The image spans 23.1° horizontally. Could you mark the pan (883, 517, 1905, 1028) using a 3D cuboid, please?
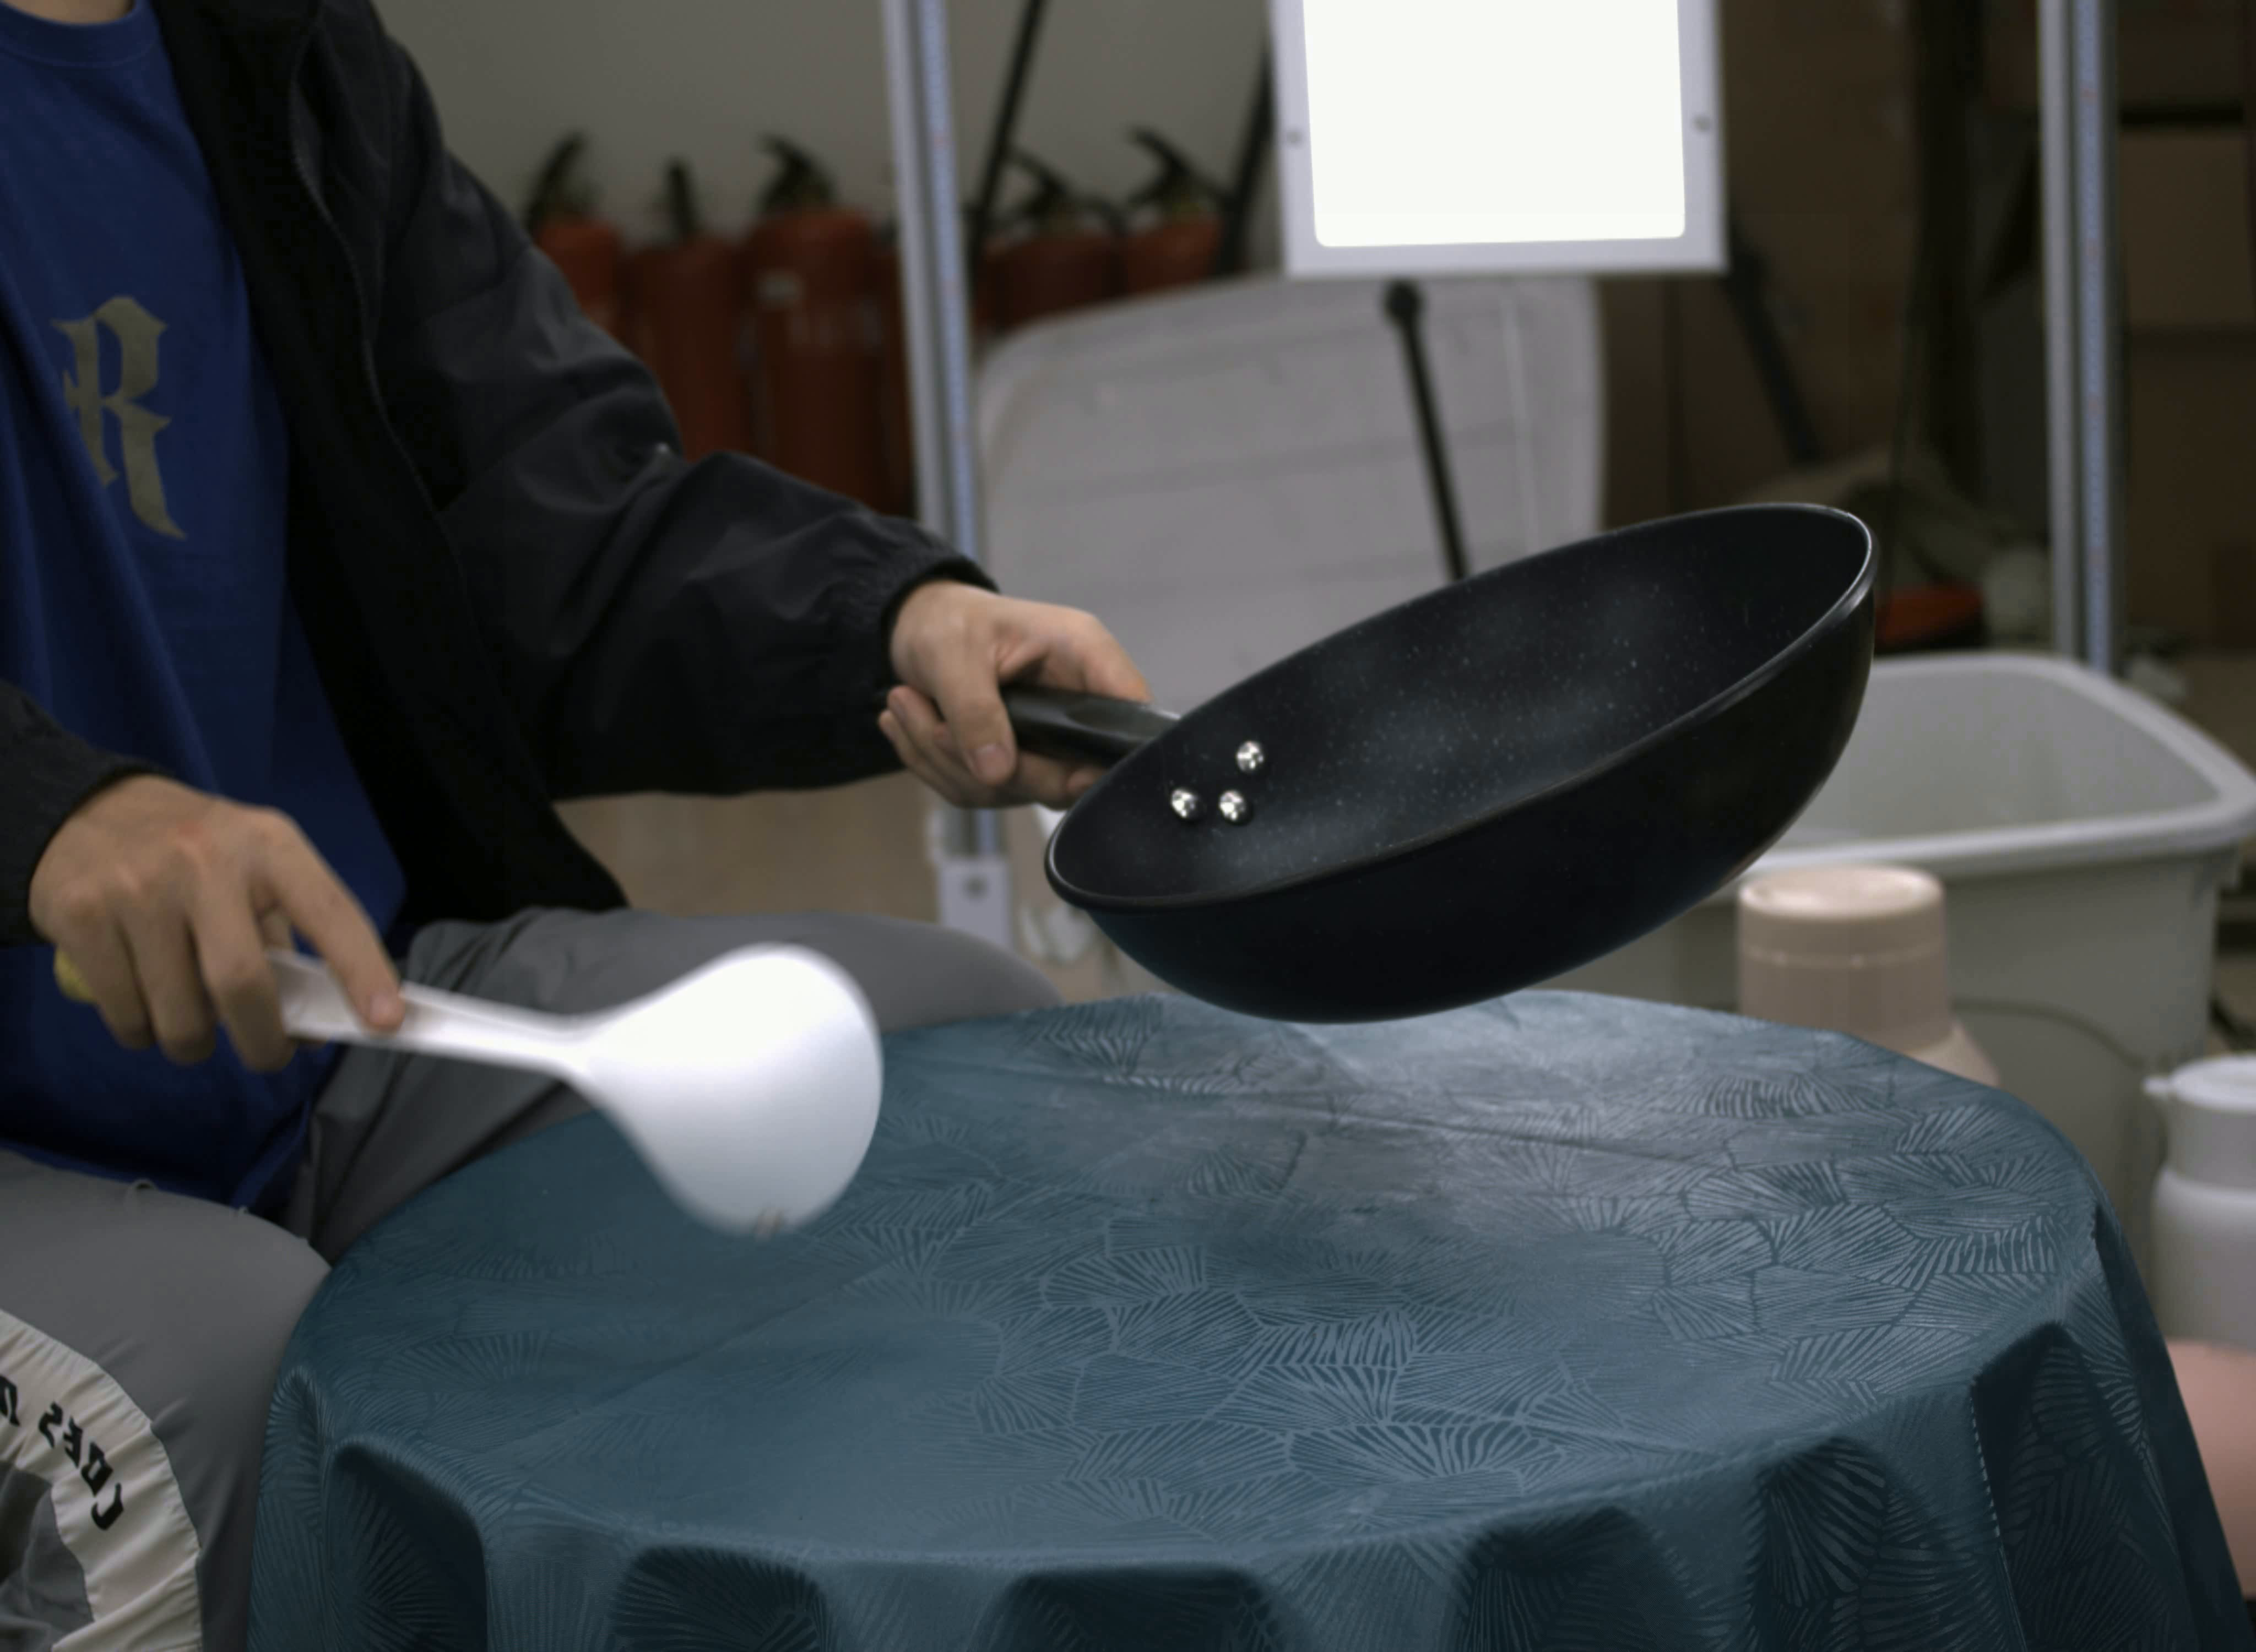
[{"bbox_3d":[0.077,-0.014,1.959,0.303,0.111,0.487,-32,17,-34],"label":"pan"}]

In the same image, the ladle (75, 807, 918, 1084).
[{"bbox_3d":[-0.213,0.040,1.836,0.298,0.090,0.068,0,4,30],"label":"ladle"}]
